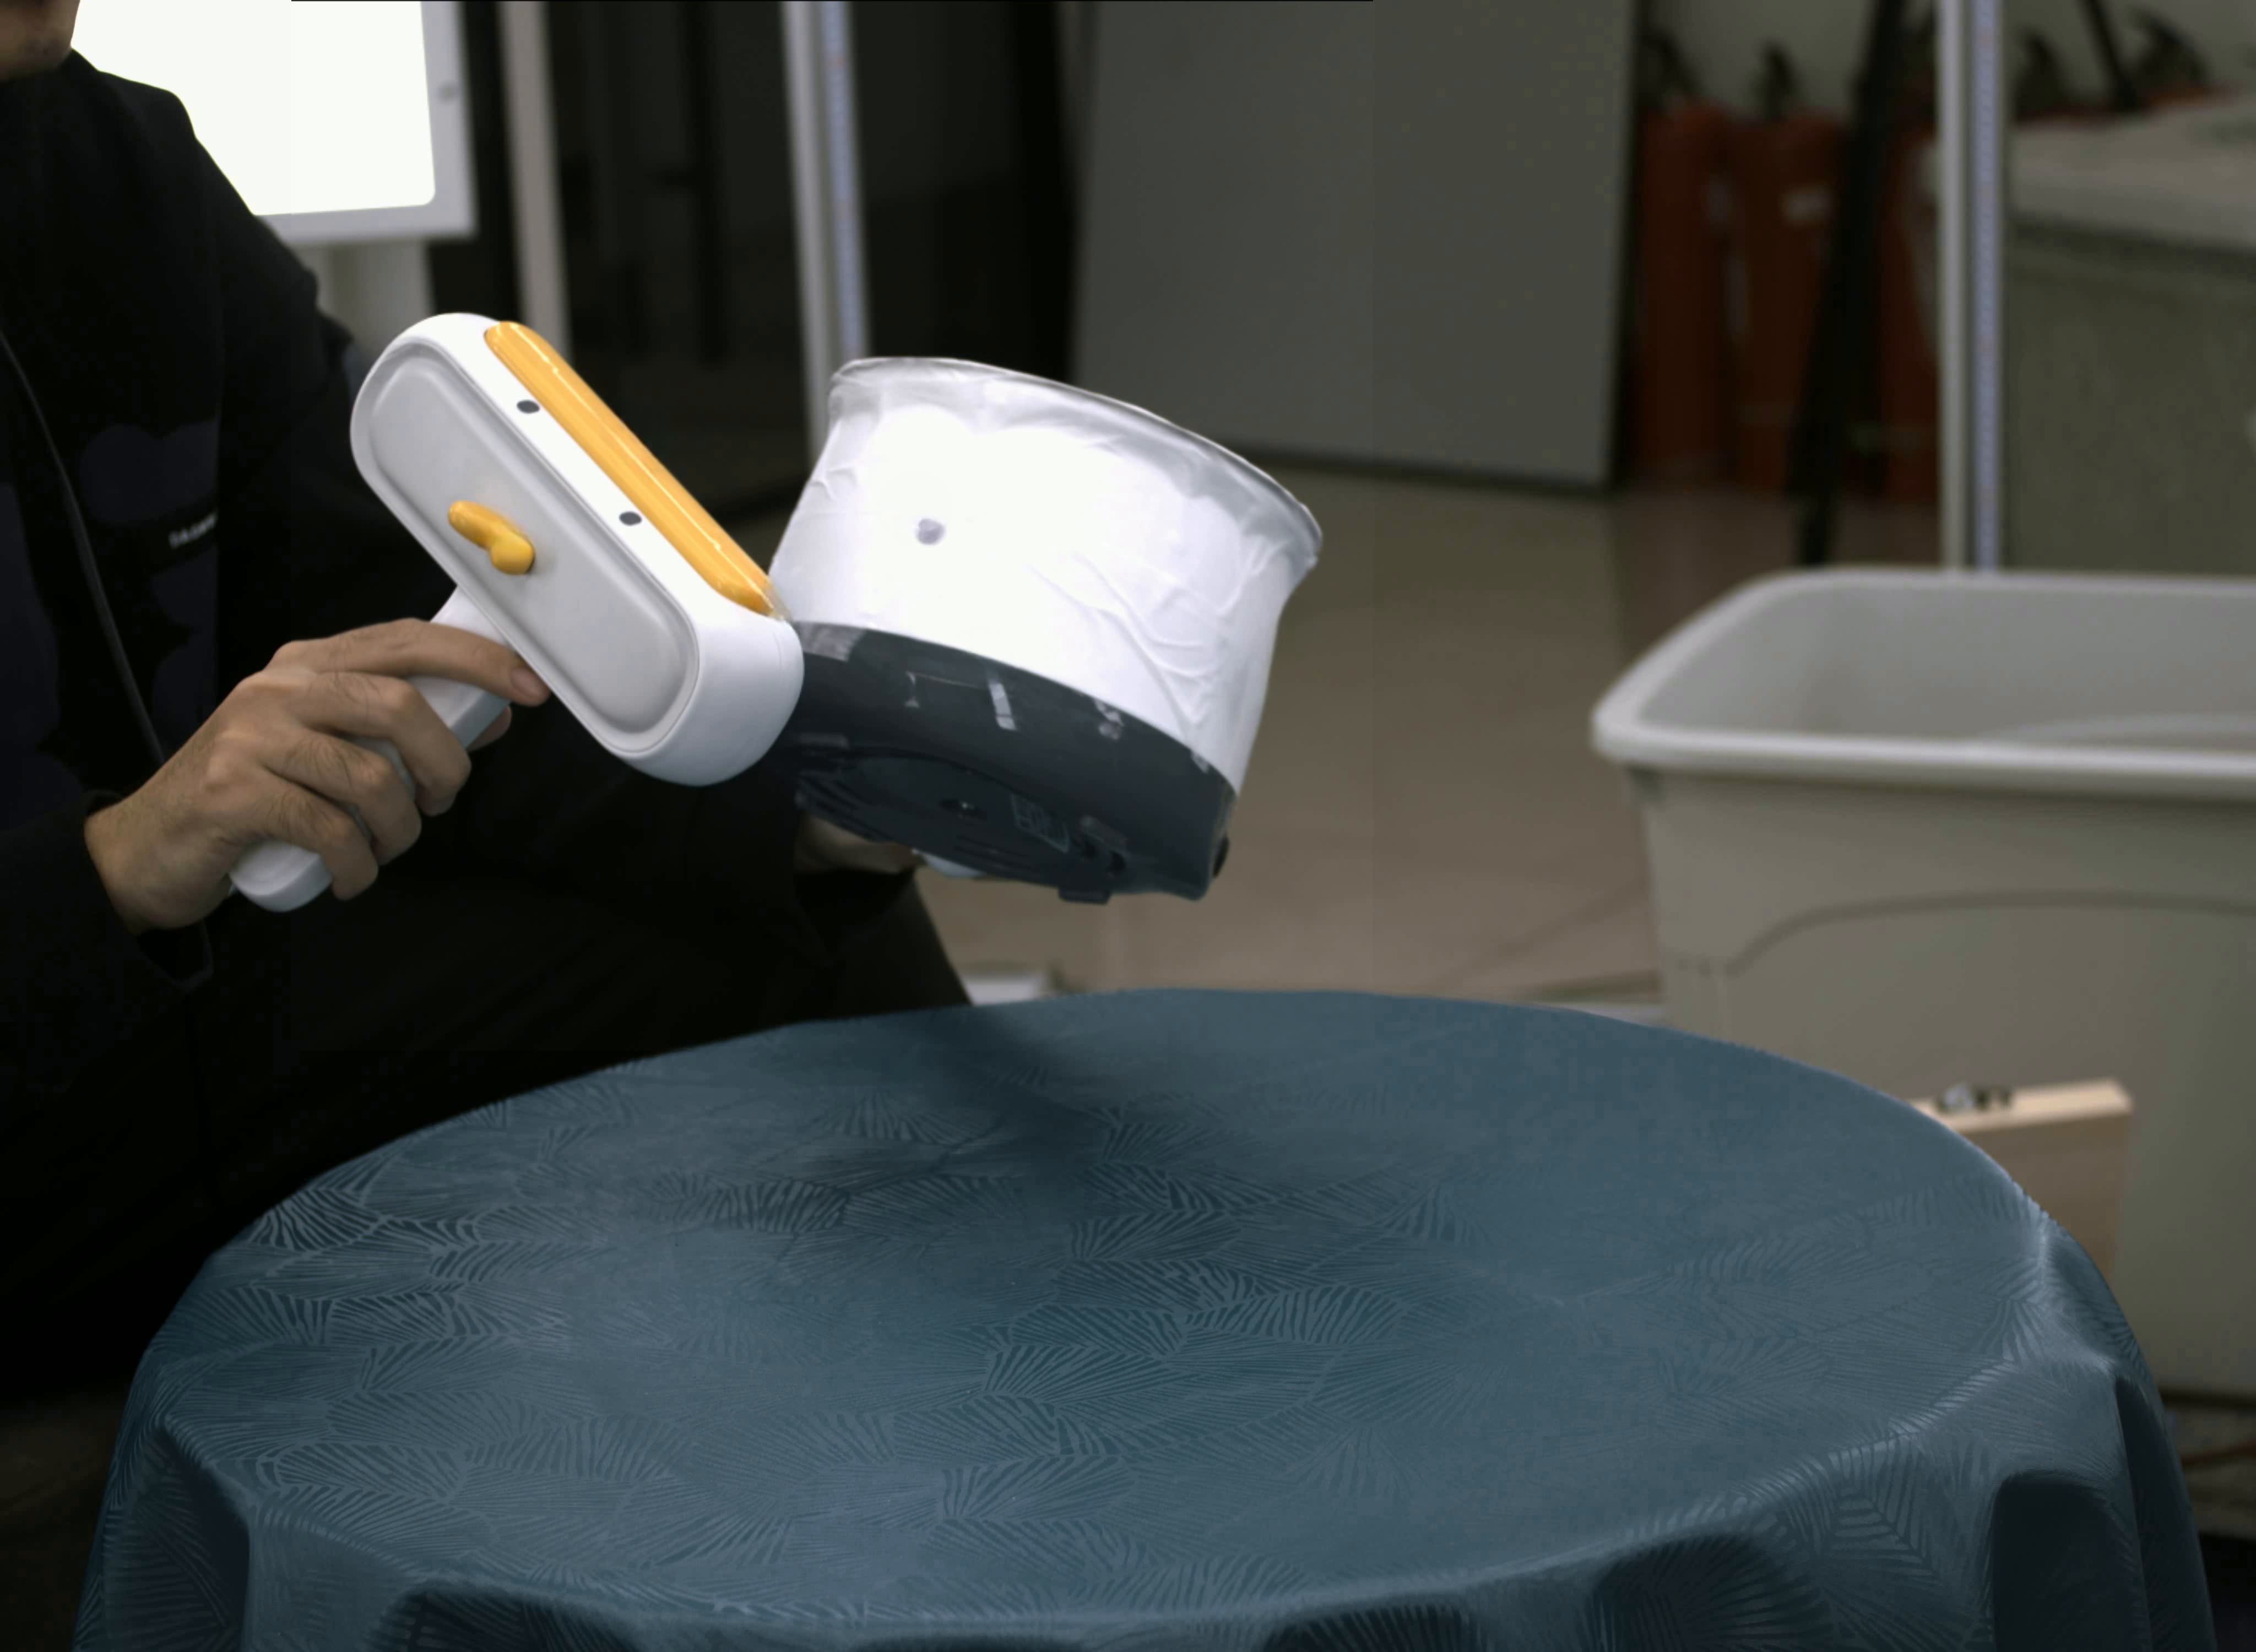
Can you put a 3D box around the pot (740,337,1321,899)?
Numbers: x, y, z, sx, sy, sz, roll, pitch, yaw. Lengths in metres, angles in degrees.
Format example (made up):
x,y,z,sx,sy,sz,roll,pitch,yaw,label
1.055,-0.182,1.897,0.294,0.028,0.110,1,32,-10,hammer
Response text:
x,y,z,sx,sy,sz,roll,pitch,yaw,label
-0.040,-0.060,1.839,0.177,0.137,0.234,20,-13,1,pot

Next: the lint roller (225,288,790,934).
x,y,z,sx,sy,sz,roll,pitch,yaw,label
-0.217,-0.049,1.726,0.194,0.194,0.073,41,16,25,lint roller
